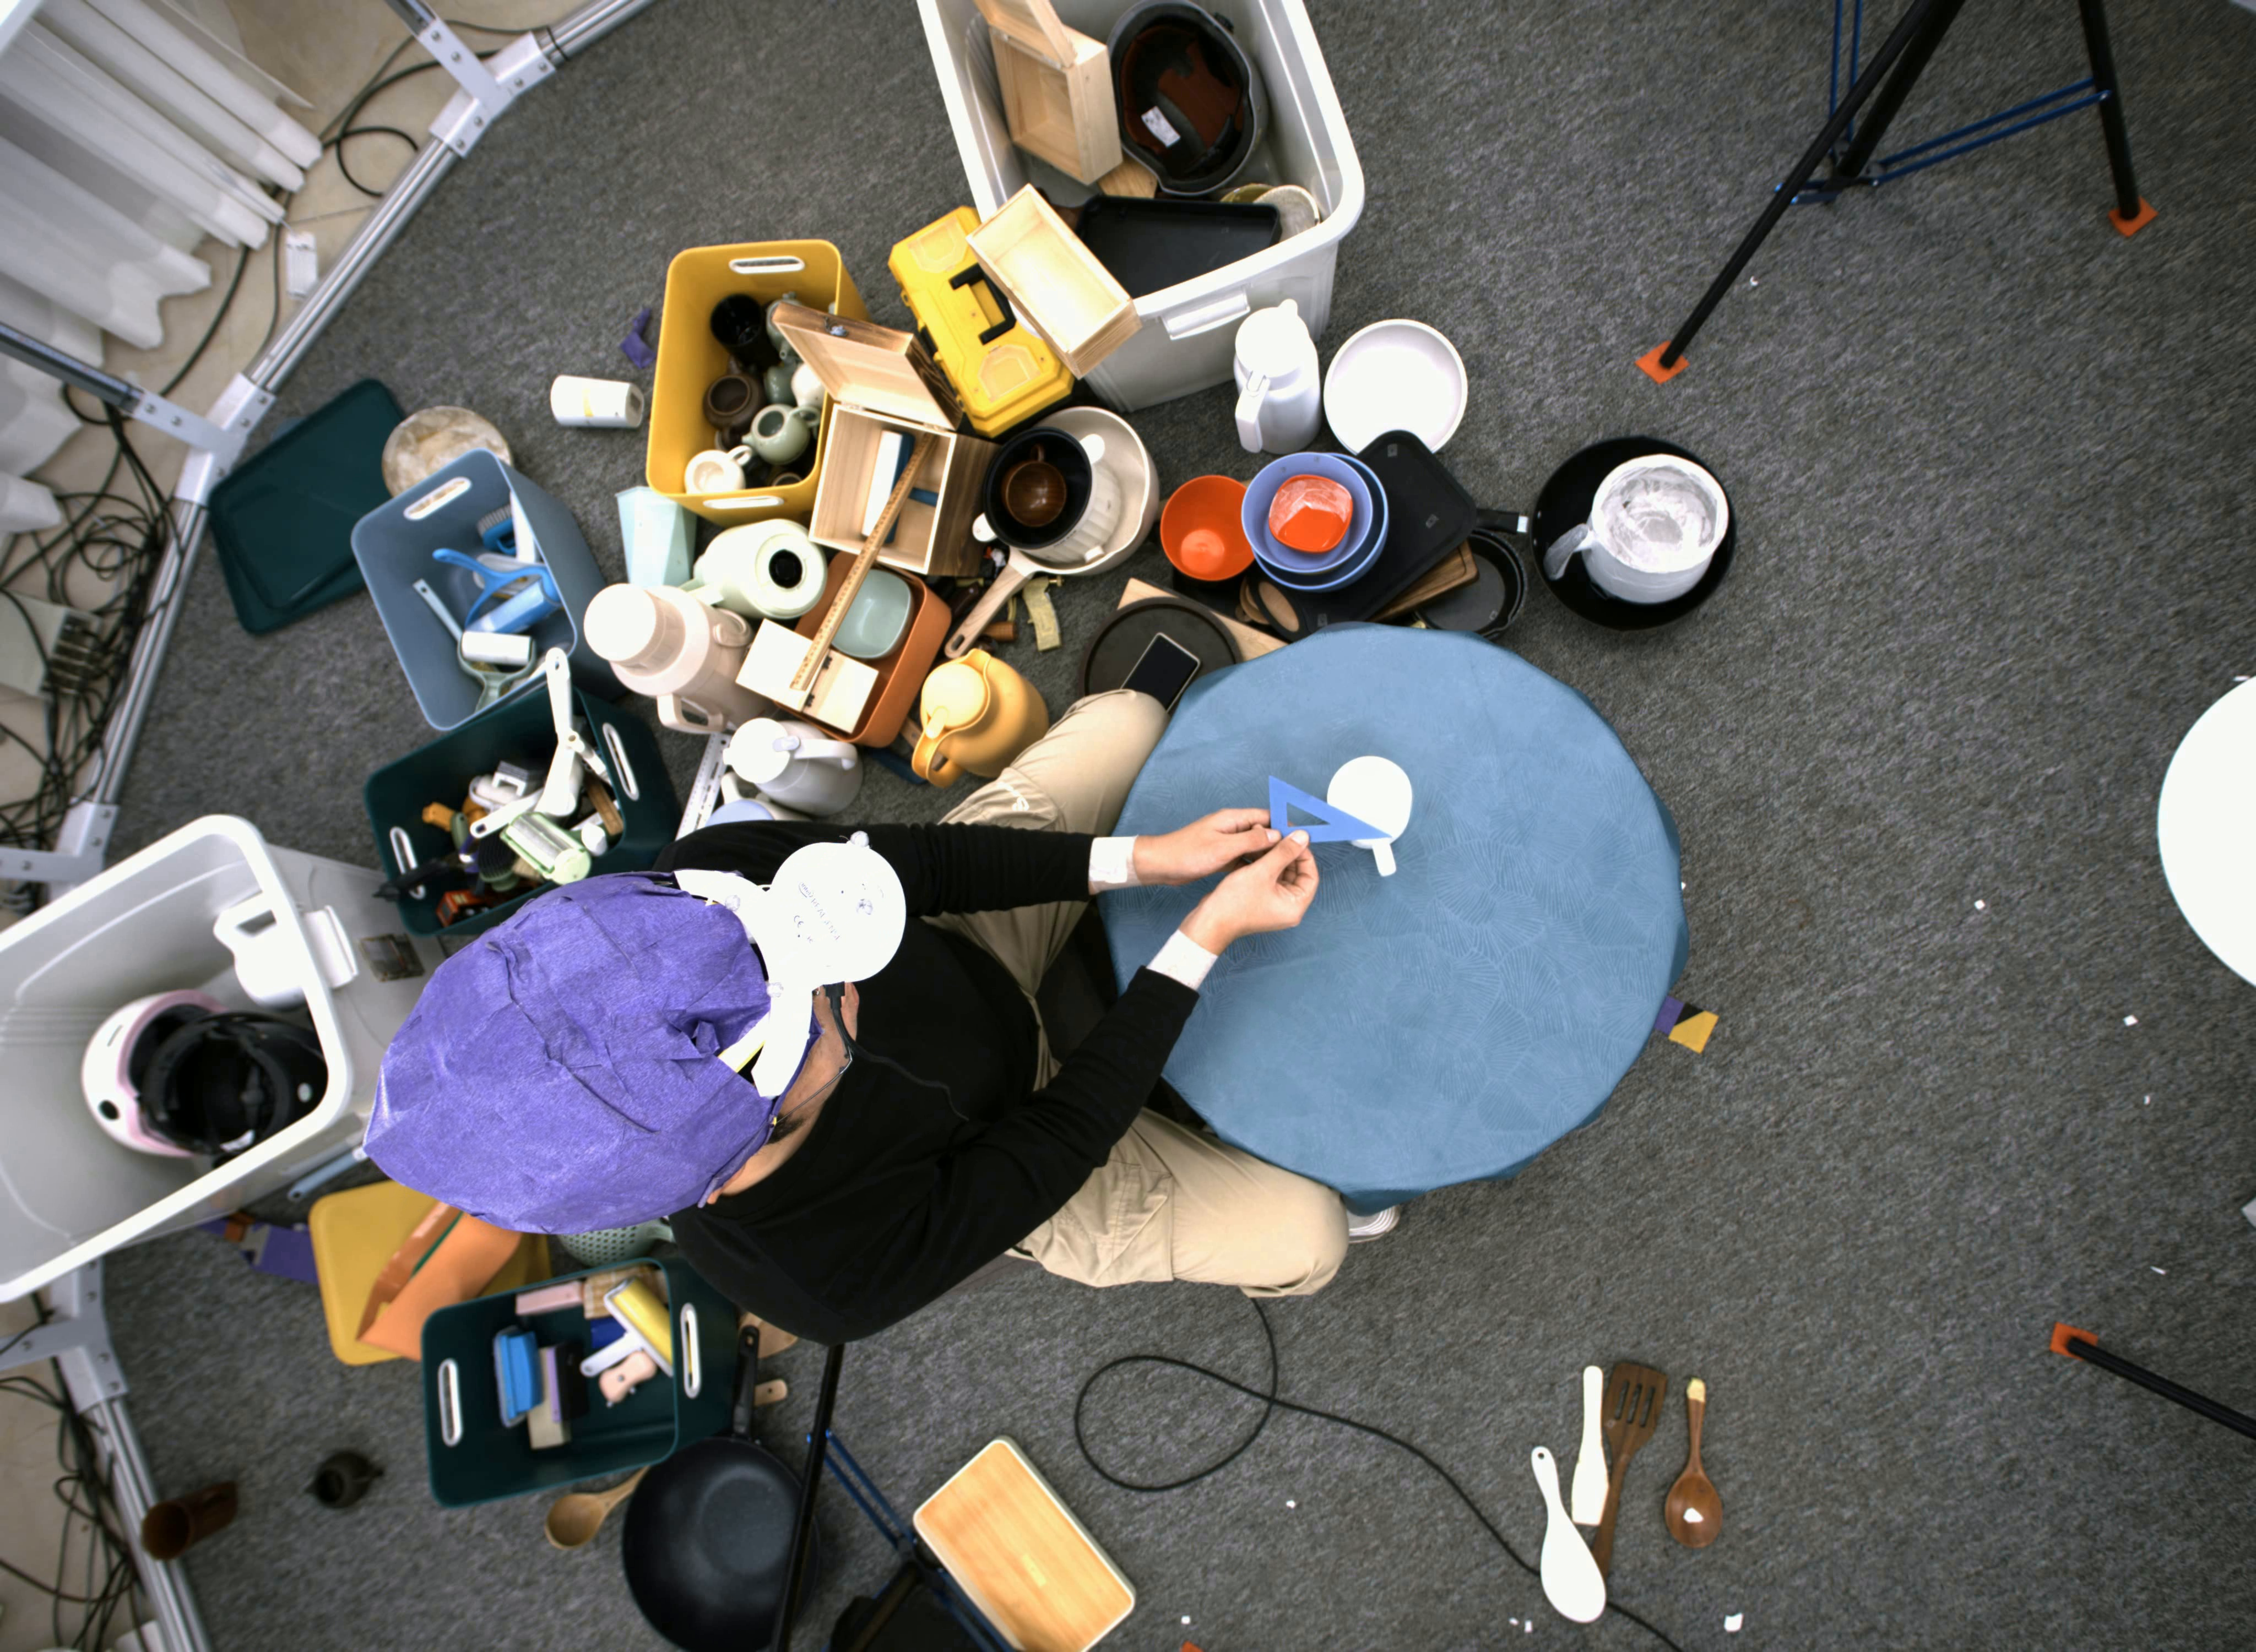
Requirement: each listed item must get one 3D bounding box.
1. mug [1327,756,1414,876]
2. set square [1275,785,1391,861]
[{"bbox_3d":[0.253,-0.008,1.416,0.085,0.102,0.117,-14,83,8],"label":"mug"},{"bbox_3d":[0.193,0.015,1.375,0.131,0.006,0.061,32,95,13],"label":"set square"}]
